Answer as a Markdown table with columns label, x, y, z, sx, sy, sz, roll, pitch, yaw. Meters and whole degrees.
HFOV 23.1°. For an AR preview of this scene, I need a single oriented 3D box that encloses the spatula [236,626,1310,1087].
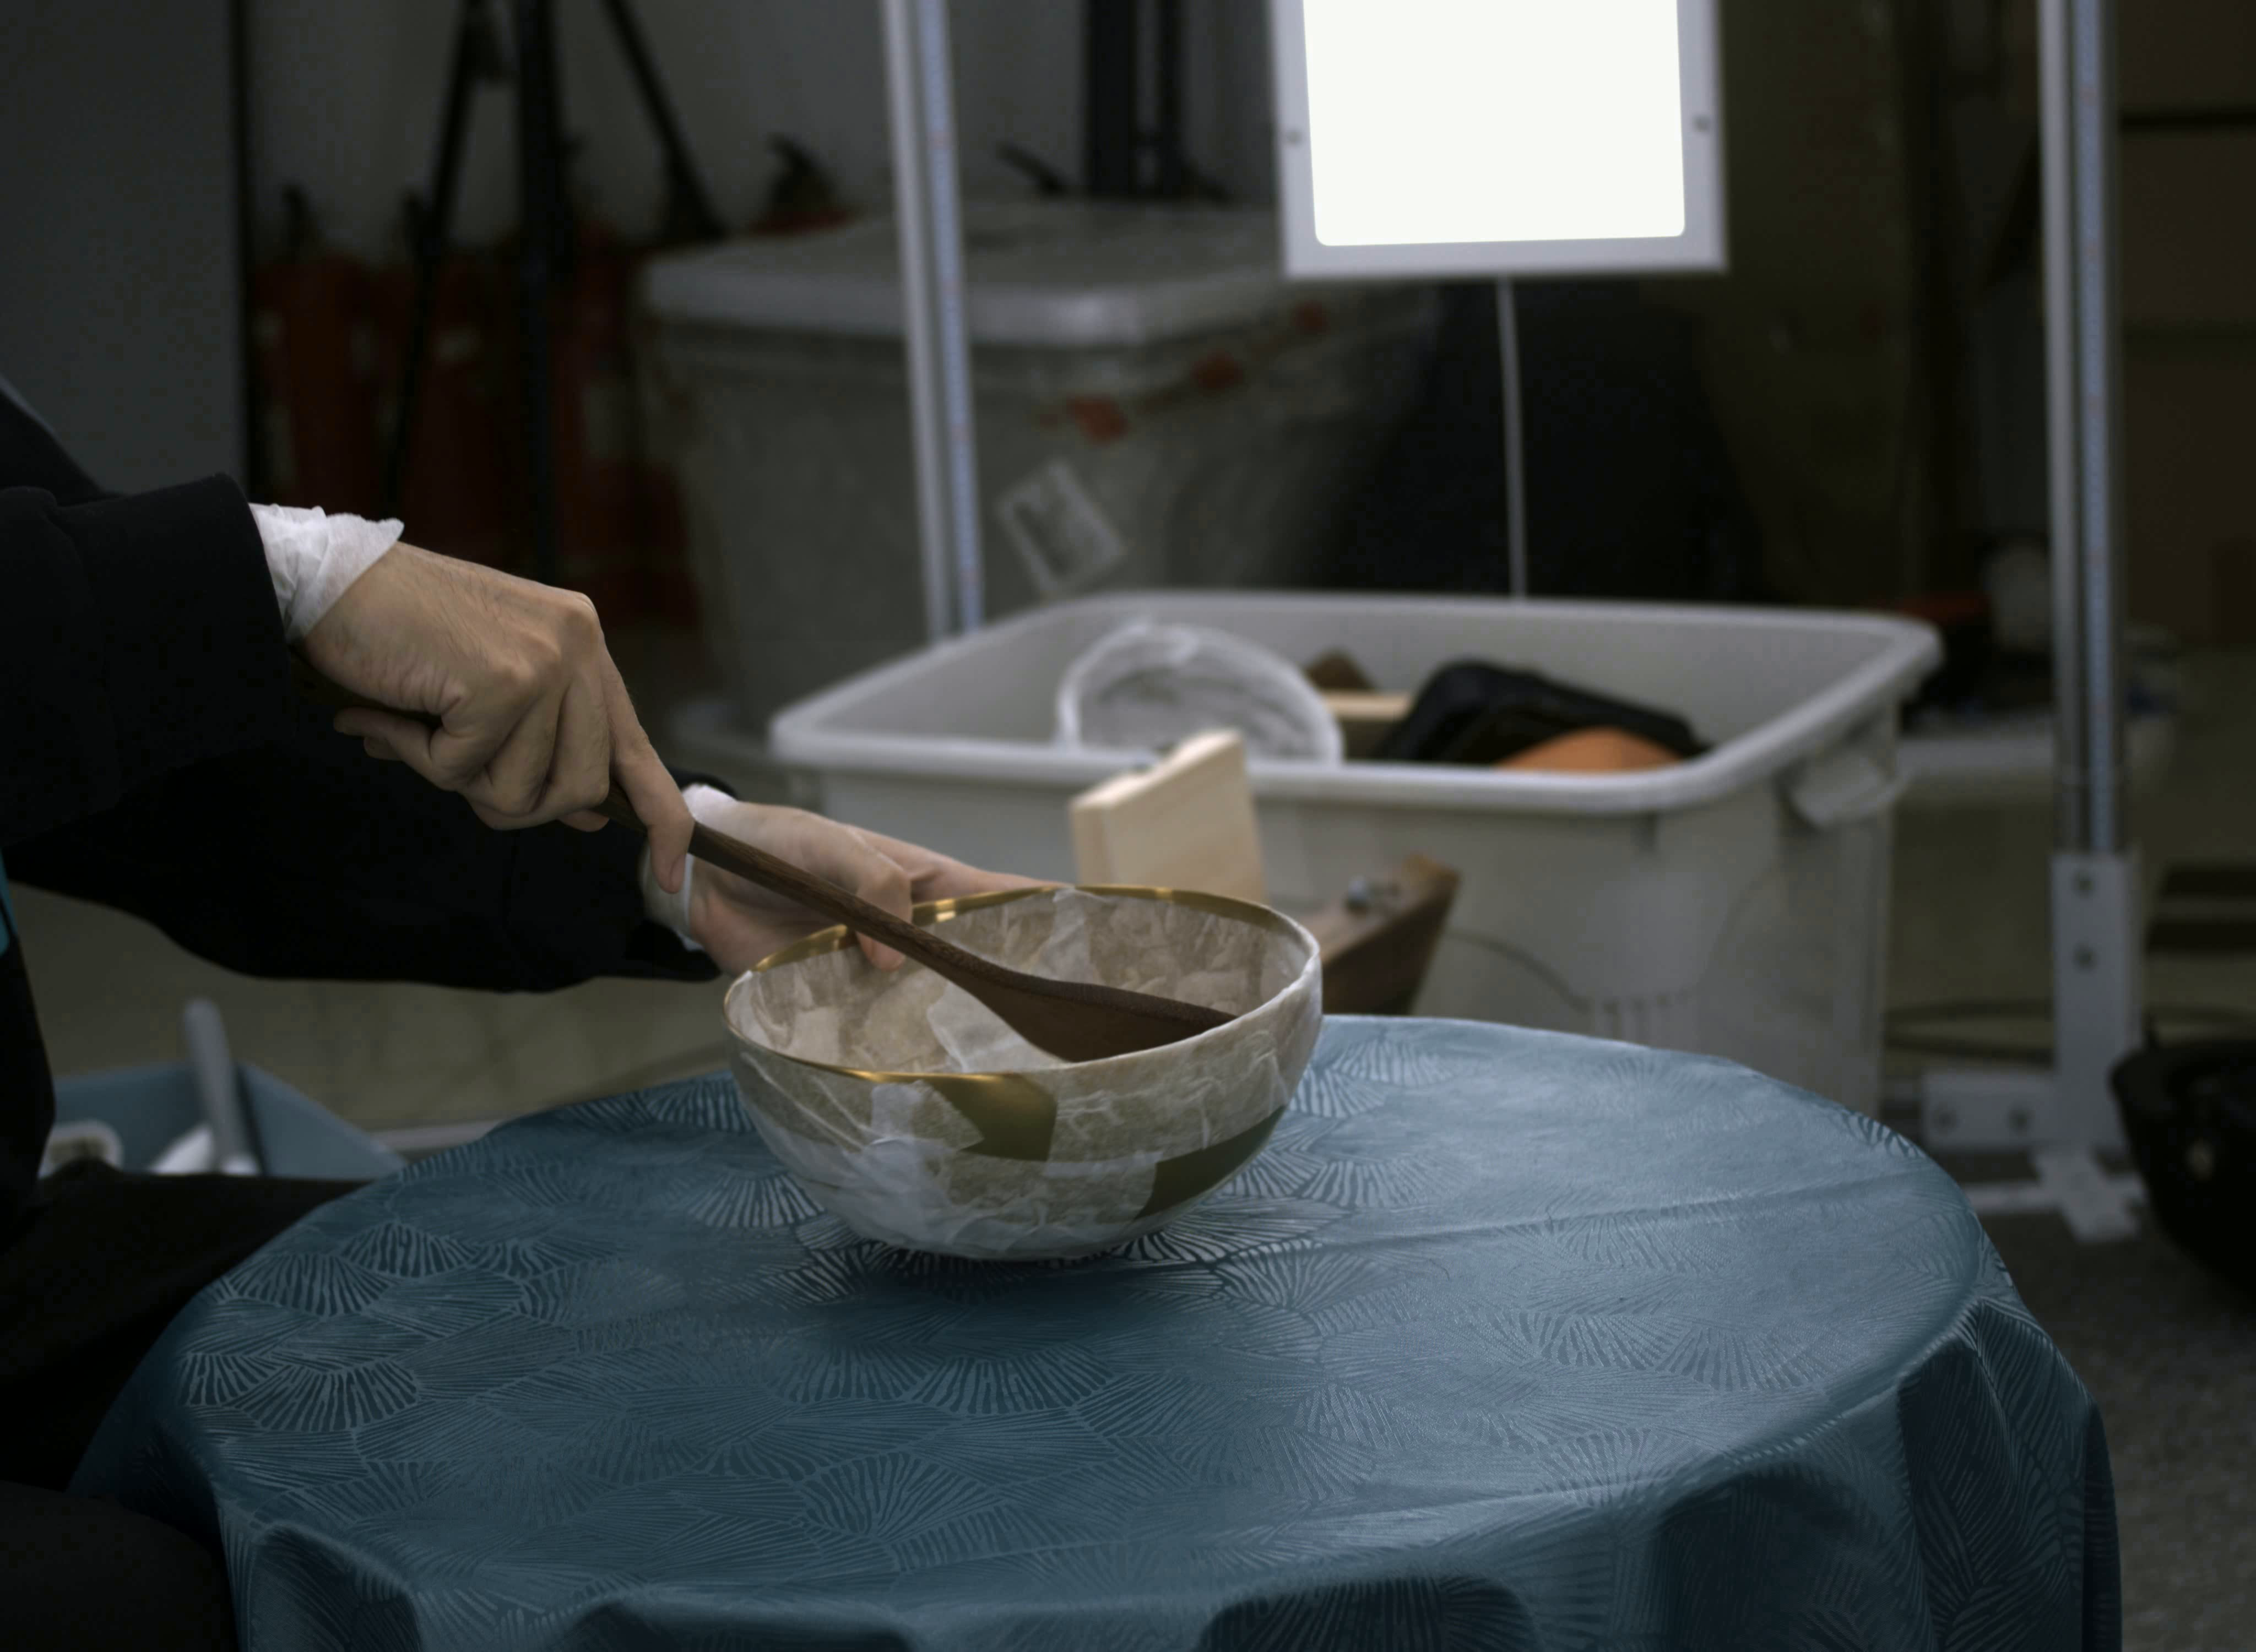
| label | x | y | z | sx | sy | sz | roll | pitch | yaw |
| --- | --- | --- | --- | --- | --- | --- | --- | --- | --- |
| spatula | -0.114 | 0.015 | 1.786 | 0.380 | 0.015 | 0.098 | 26 | -23 | -20 |

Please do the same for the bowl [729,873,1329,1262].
| label | x | y | z | sx | sy | sz | roll | pitch | yaw |
| --- | --- | --- | --- | --- | --- | --- | --- | --- | --- |
| bowl | -0.031 | 0.090 | 1.852 | 0.214 | 0.095 | 0.214 | -8 | 17 | 1 |
